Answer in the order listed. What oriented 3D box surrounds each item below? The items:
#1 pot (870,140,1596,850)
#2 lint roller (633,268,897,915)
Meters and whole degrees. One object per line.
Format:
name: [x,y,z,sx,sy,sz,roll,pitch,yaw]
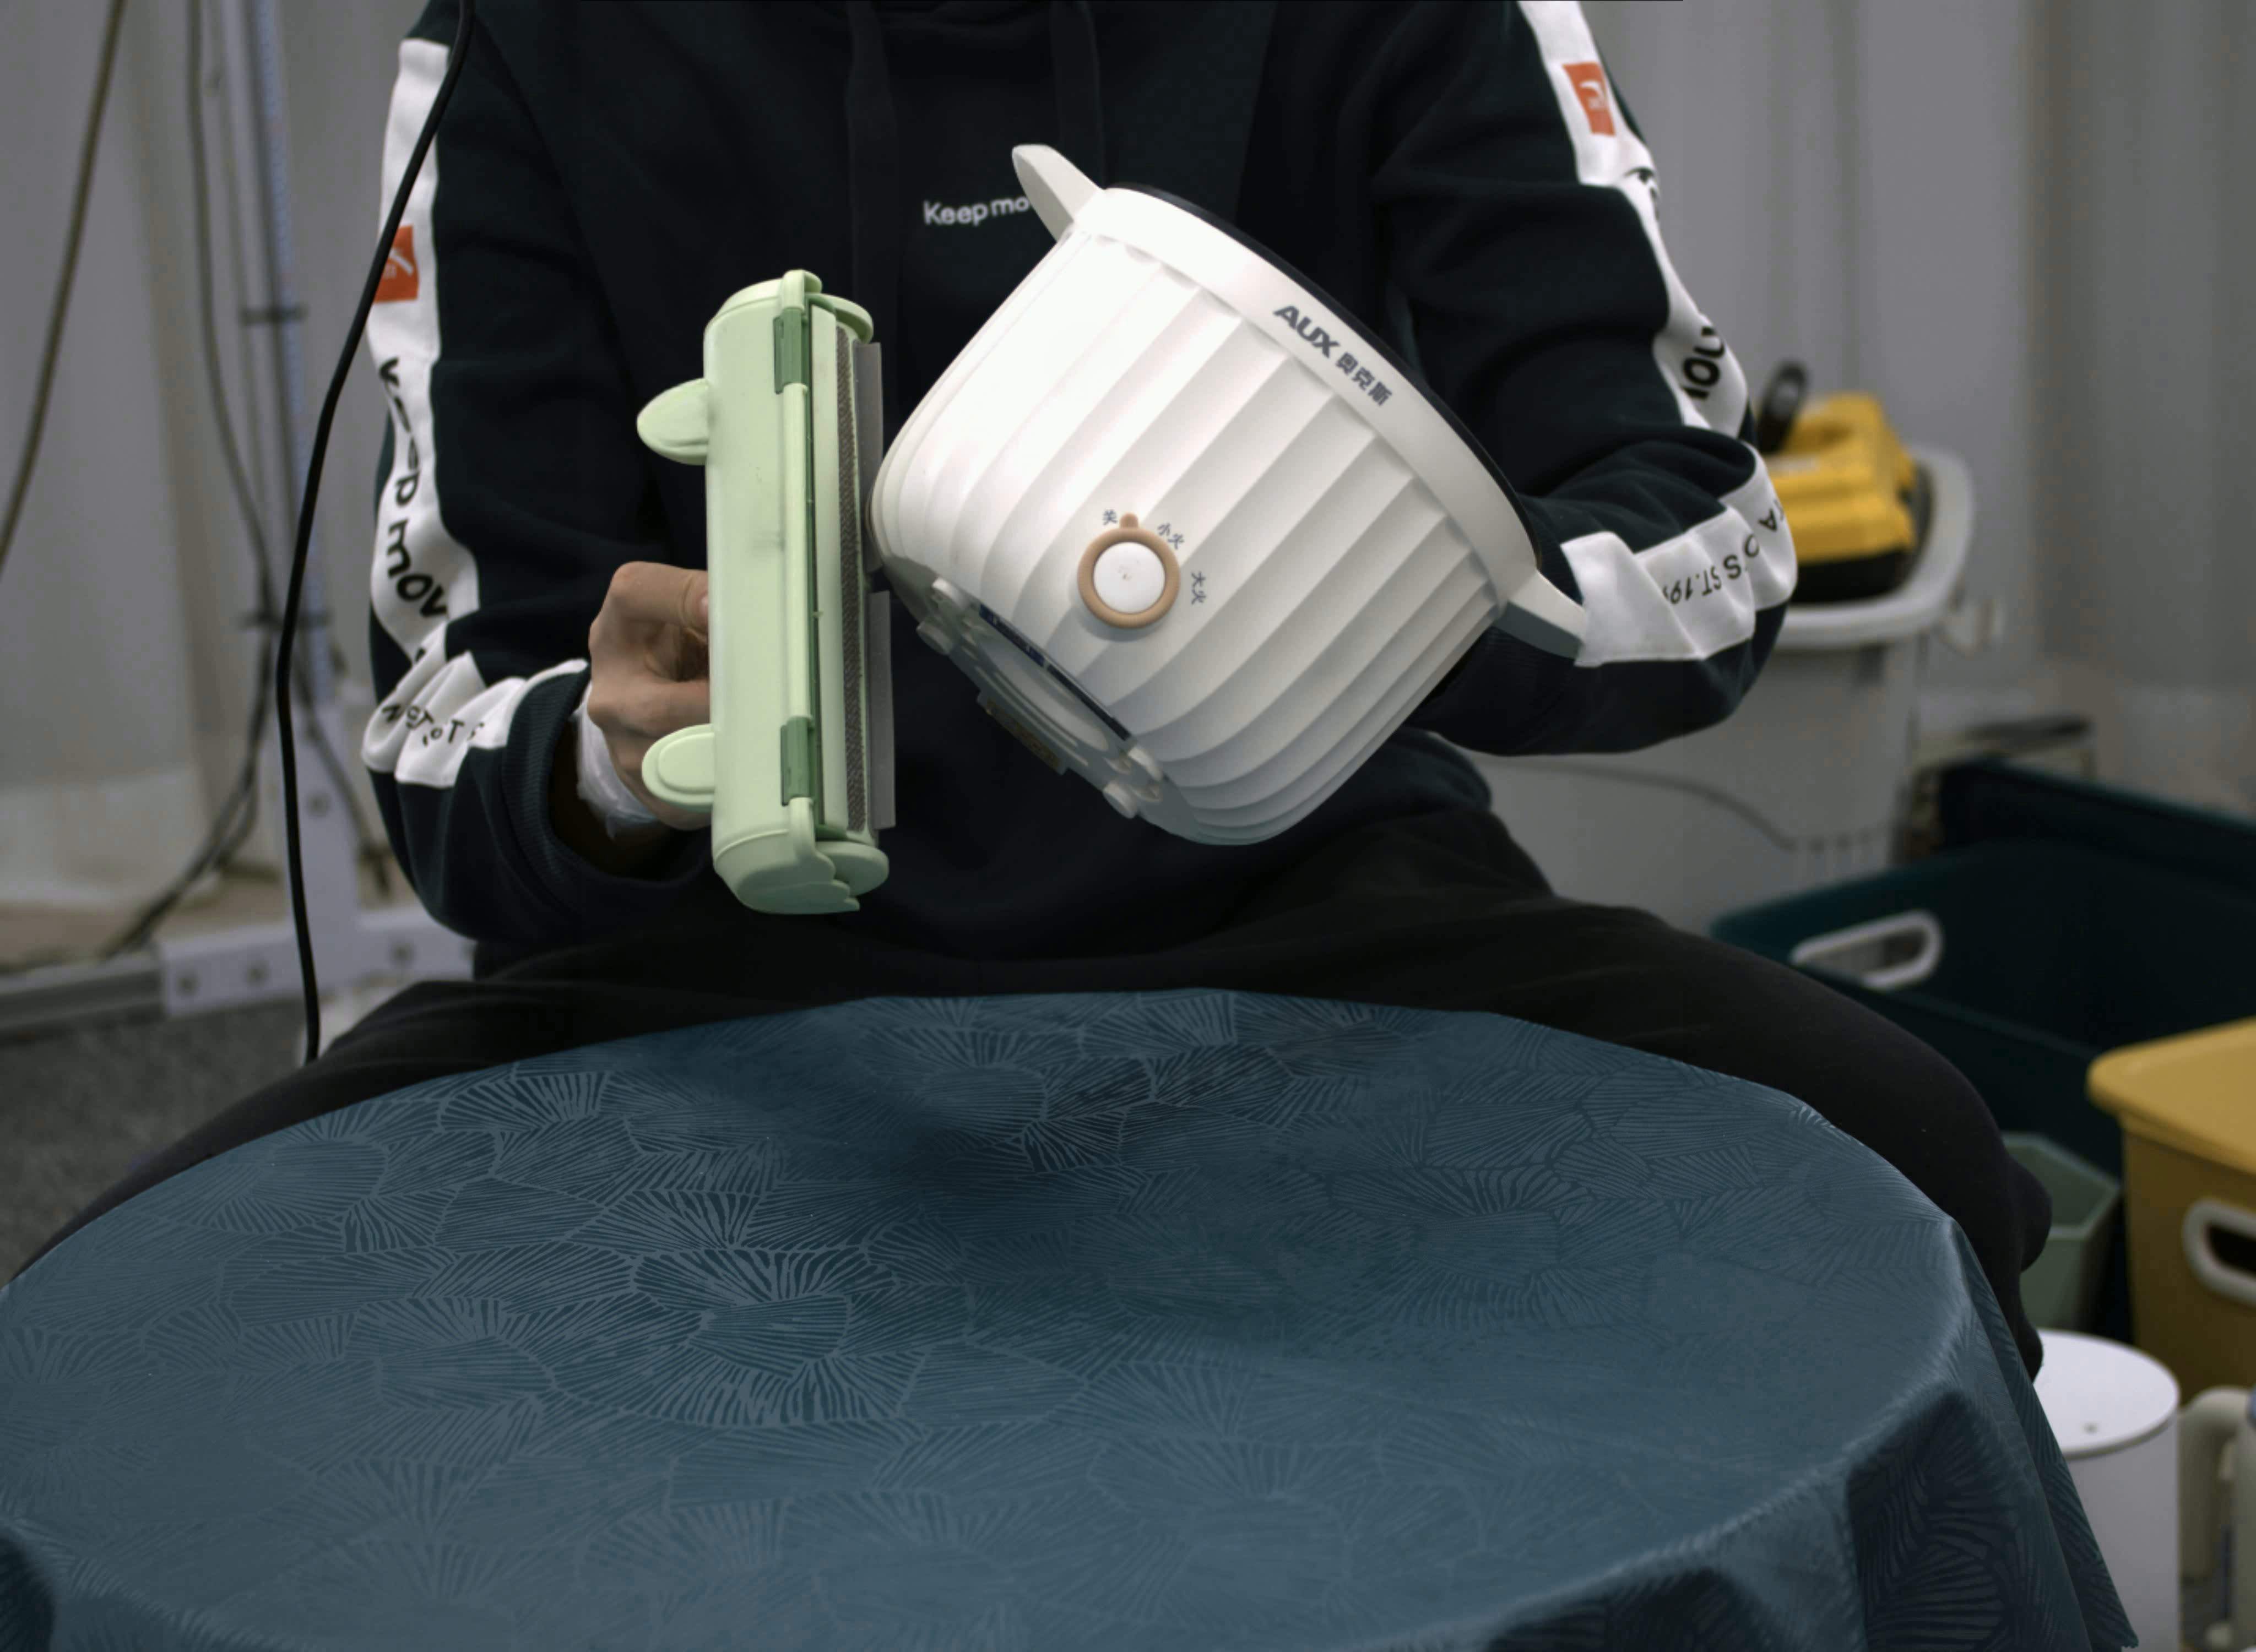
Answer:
pot: [0.017,-0.087,1.687,0.143,0.240,0.190,-49,-1,-13]
lint roller: [-0.129,-0.054,1.739,0.081,0.201,0.182,5,-22,-20]
